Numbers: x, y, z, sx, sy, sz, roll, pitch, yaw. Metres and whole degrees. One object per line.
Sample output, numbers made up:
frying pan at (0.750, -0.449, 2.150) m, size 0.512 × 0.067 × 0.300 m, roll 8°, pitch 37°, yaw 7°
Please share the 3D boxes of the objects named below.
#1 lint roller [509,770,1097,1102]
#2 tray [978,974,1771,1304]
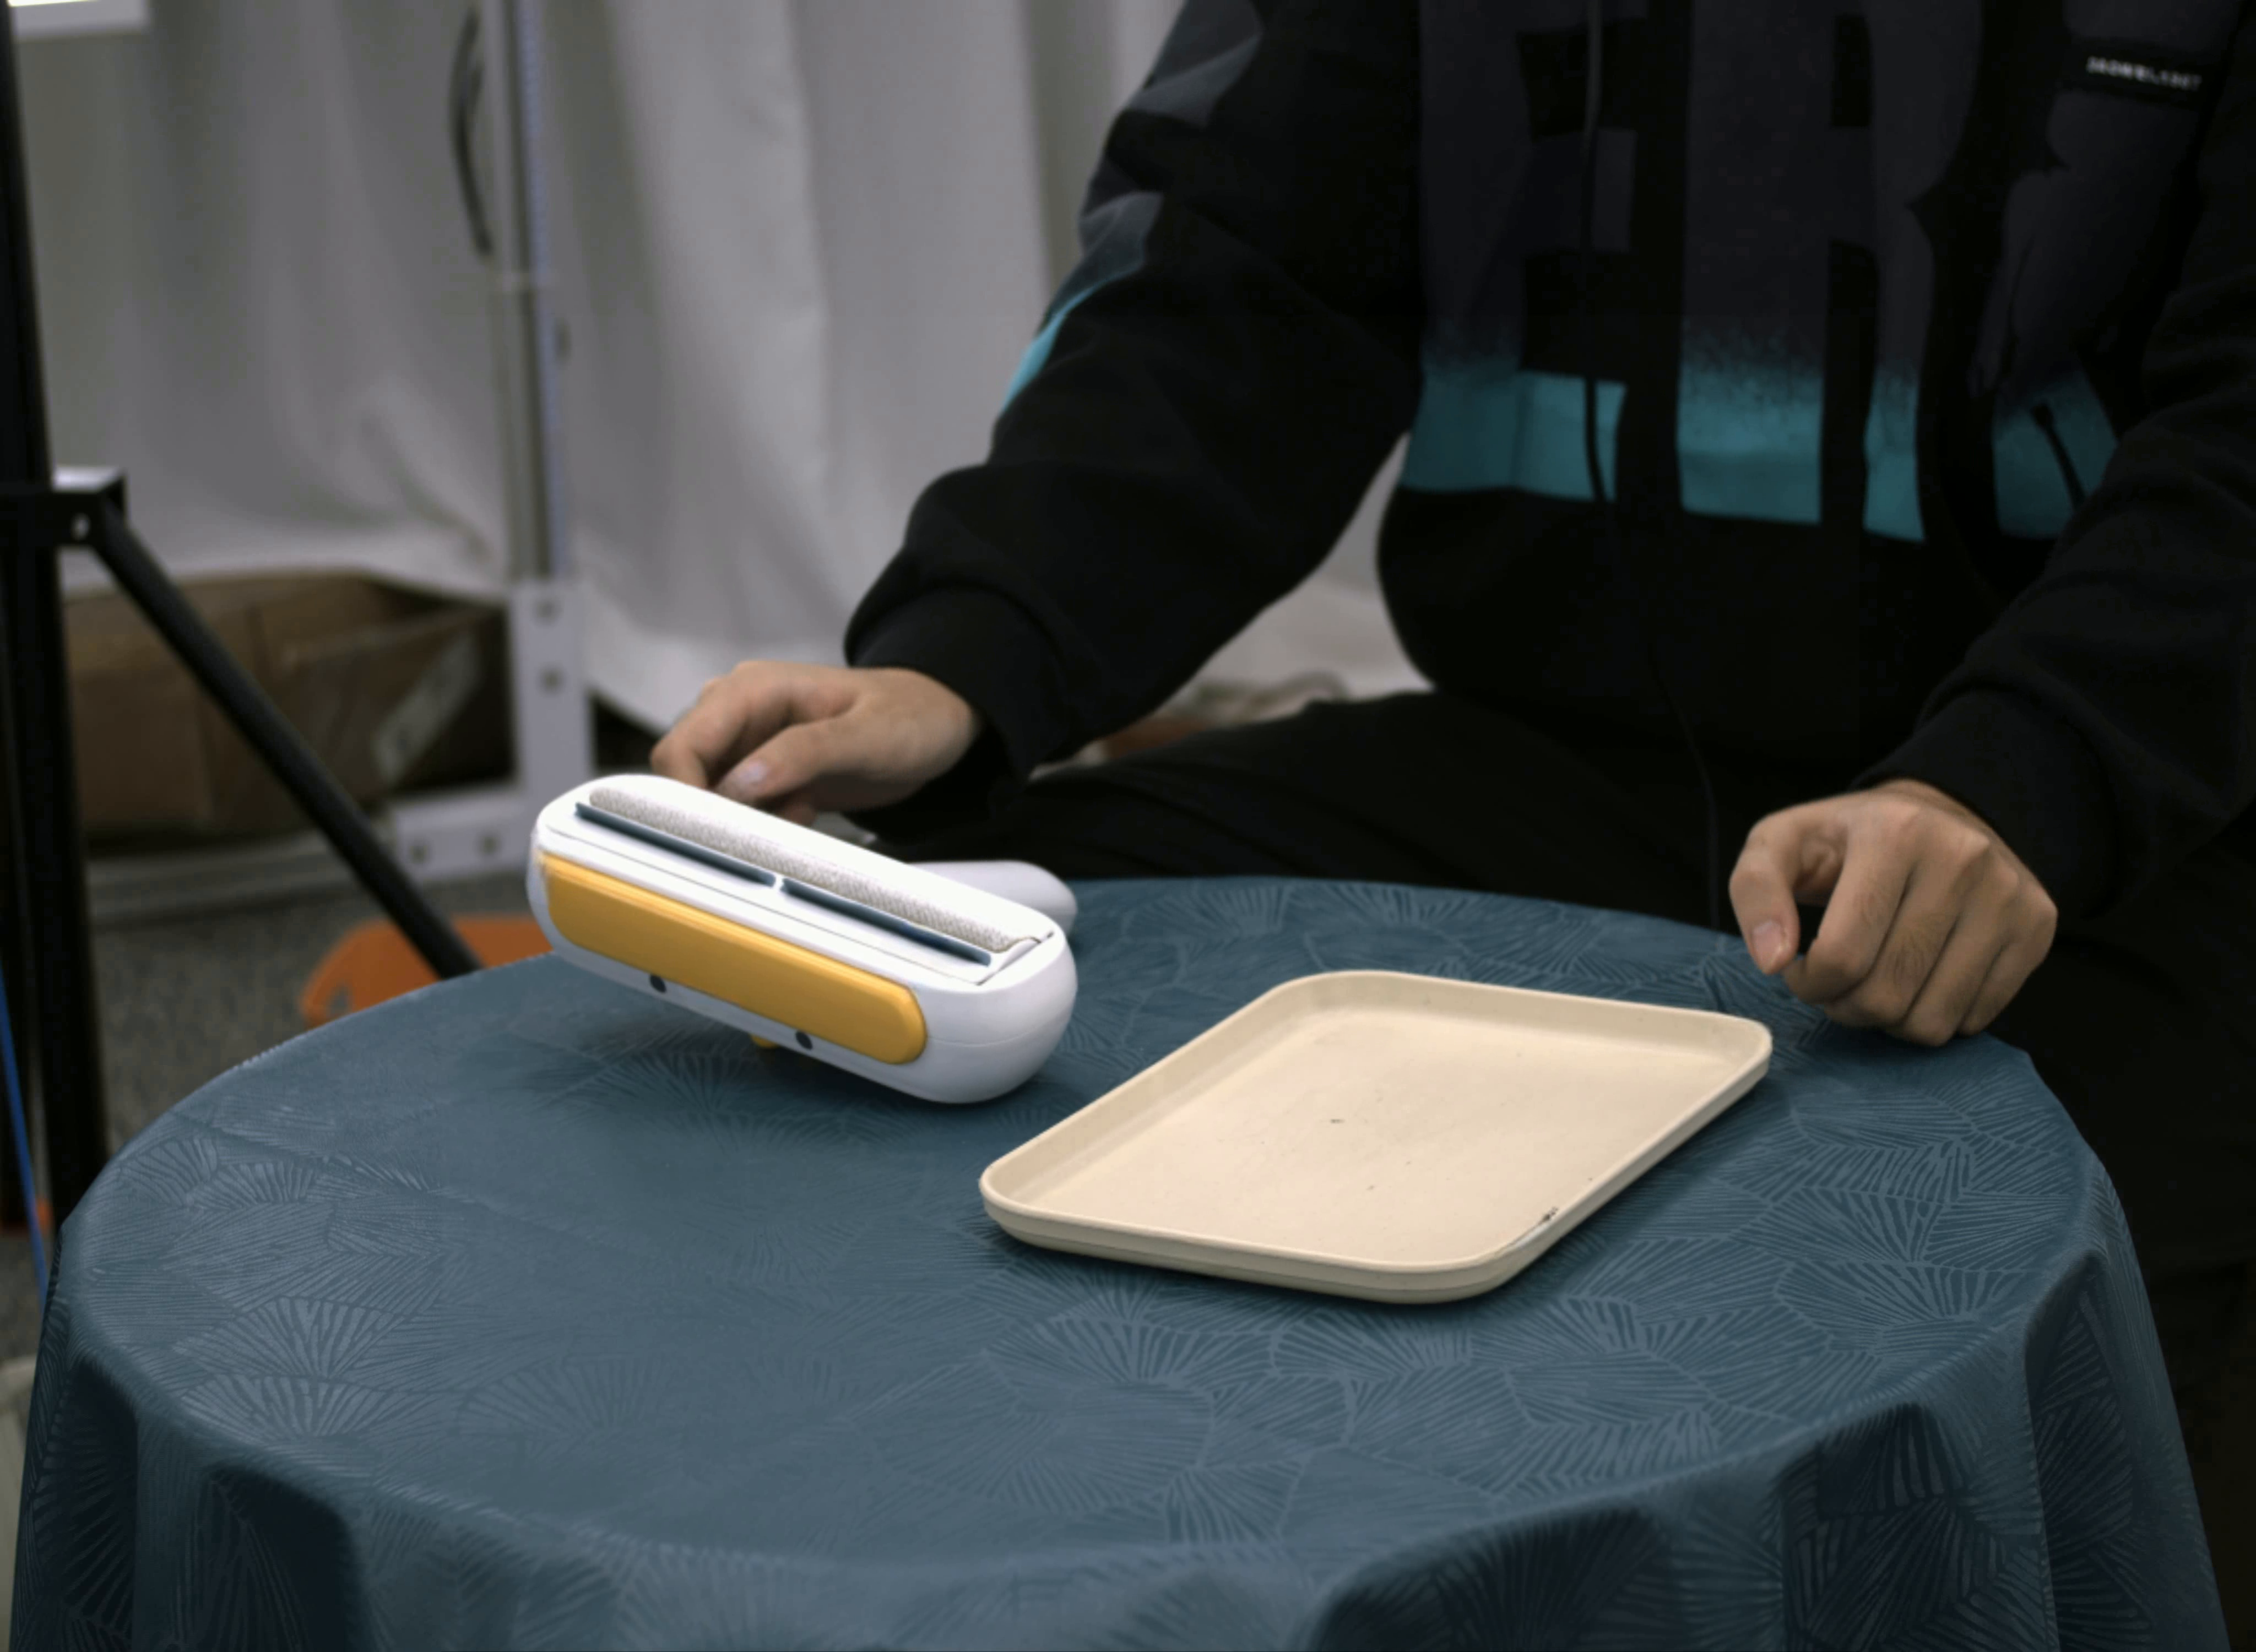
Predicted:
lint roller at (-0.077, 0.027, 1.732) m, size 0.197 × 0.074 × 0.188 m, roll 16°, pitch 22°, yaw 34°
tray at (0.077, 0.091, 1.571) m, size 0.174 × 0.017 × 0.235 m, roll 6°, pitch 18°, yaw 30°
